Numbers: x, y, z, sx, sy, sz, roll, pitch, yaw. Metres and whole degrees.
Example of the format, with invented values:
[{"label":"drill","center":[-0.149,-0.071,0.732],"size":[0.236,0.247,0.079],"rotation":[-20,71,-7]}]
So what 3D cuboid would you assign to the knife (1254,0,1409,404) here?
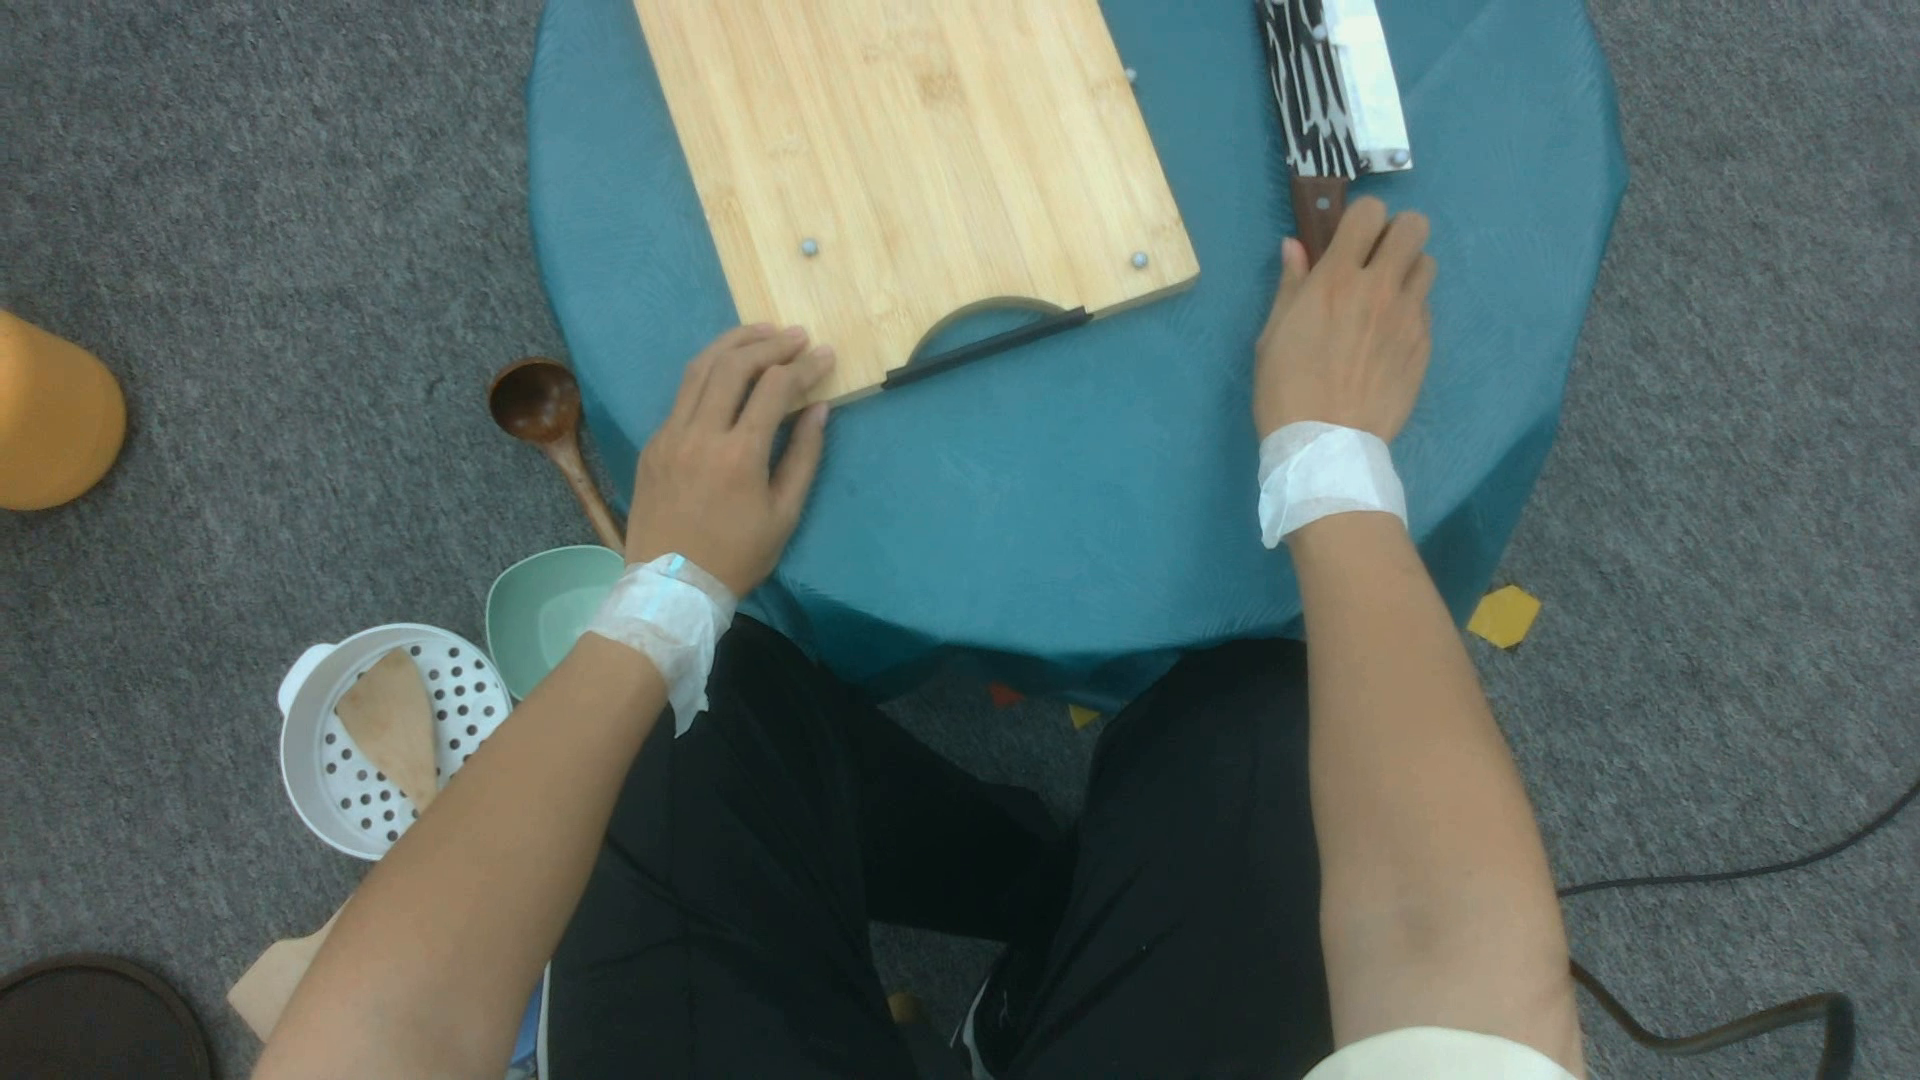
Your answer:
[{"label":"knife","center":[0.209,-0.218,0.759],"size":[0.068,0.024,0.300],"rotation":[-6,74,1]}]

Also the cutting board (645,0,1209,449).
[{"label":"cutting board","center":[-0.034,-0.249,0.775],"size":[0.251,0.023,0.349],"rotation":[-20,79,-3]}]
